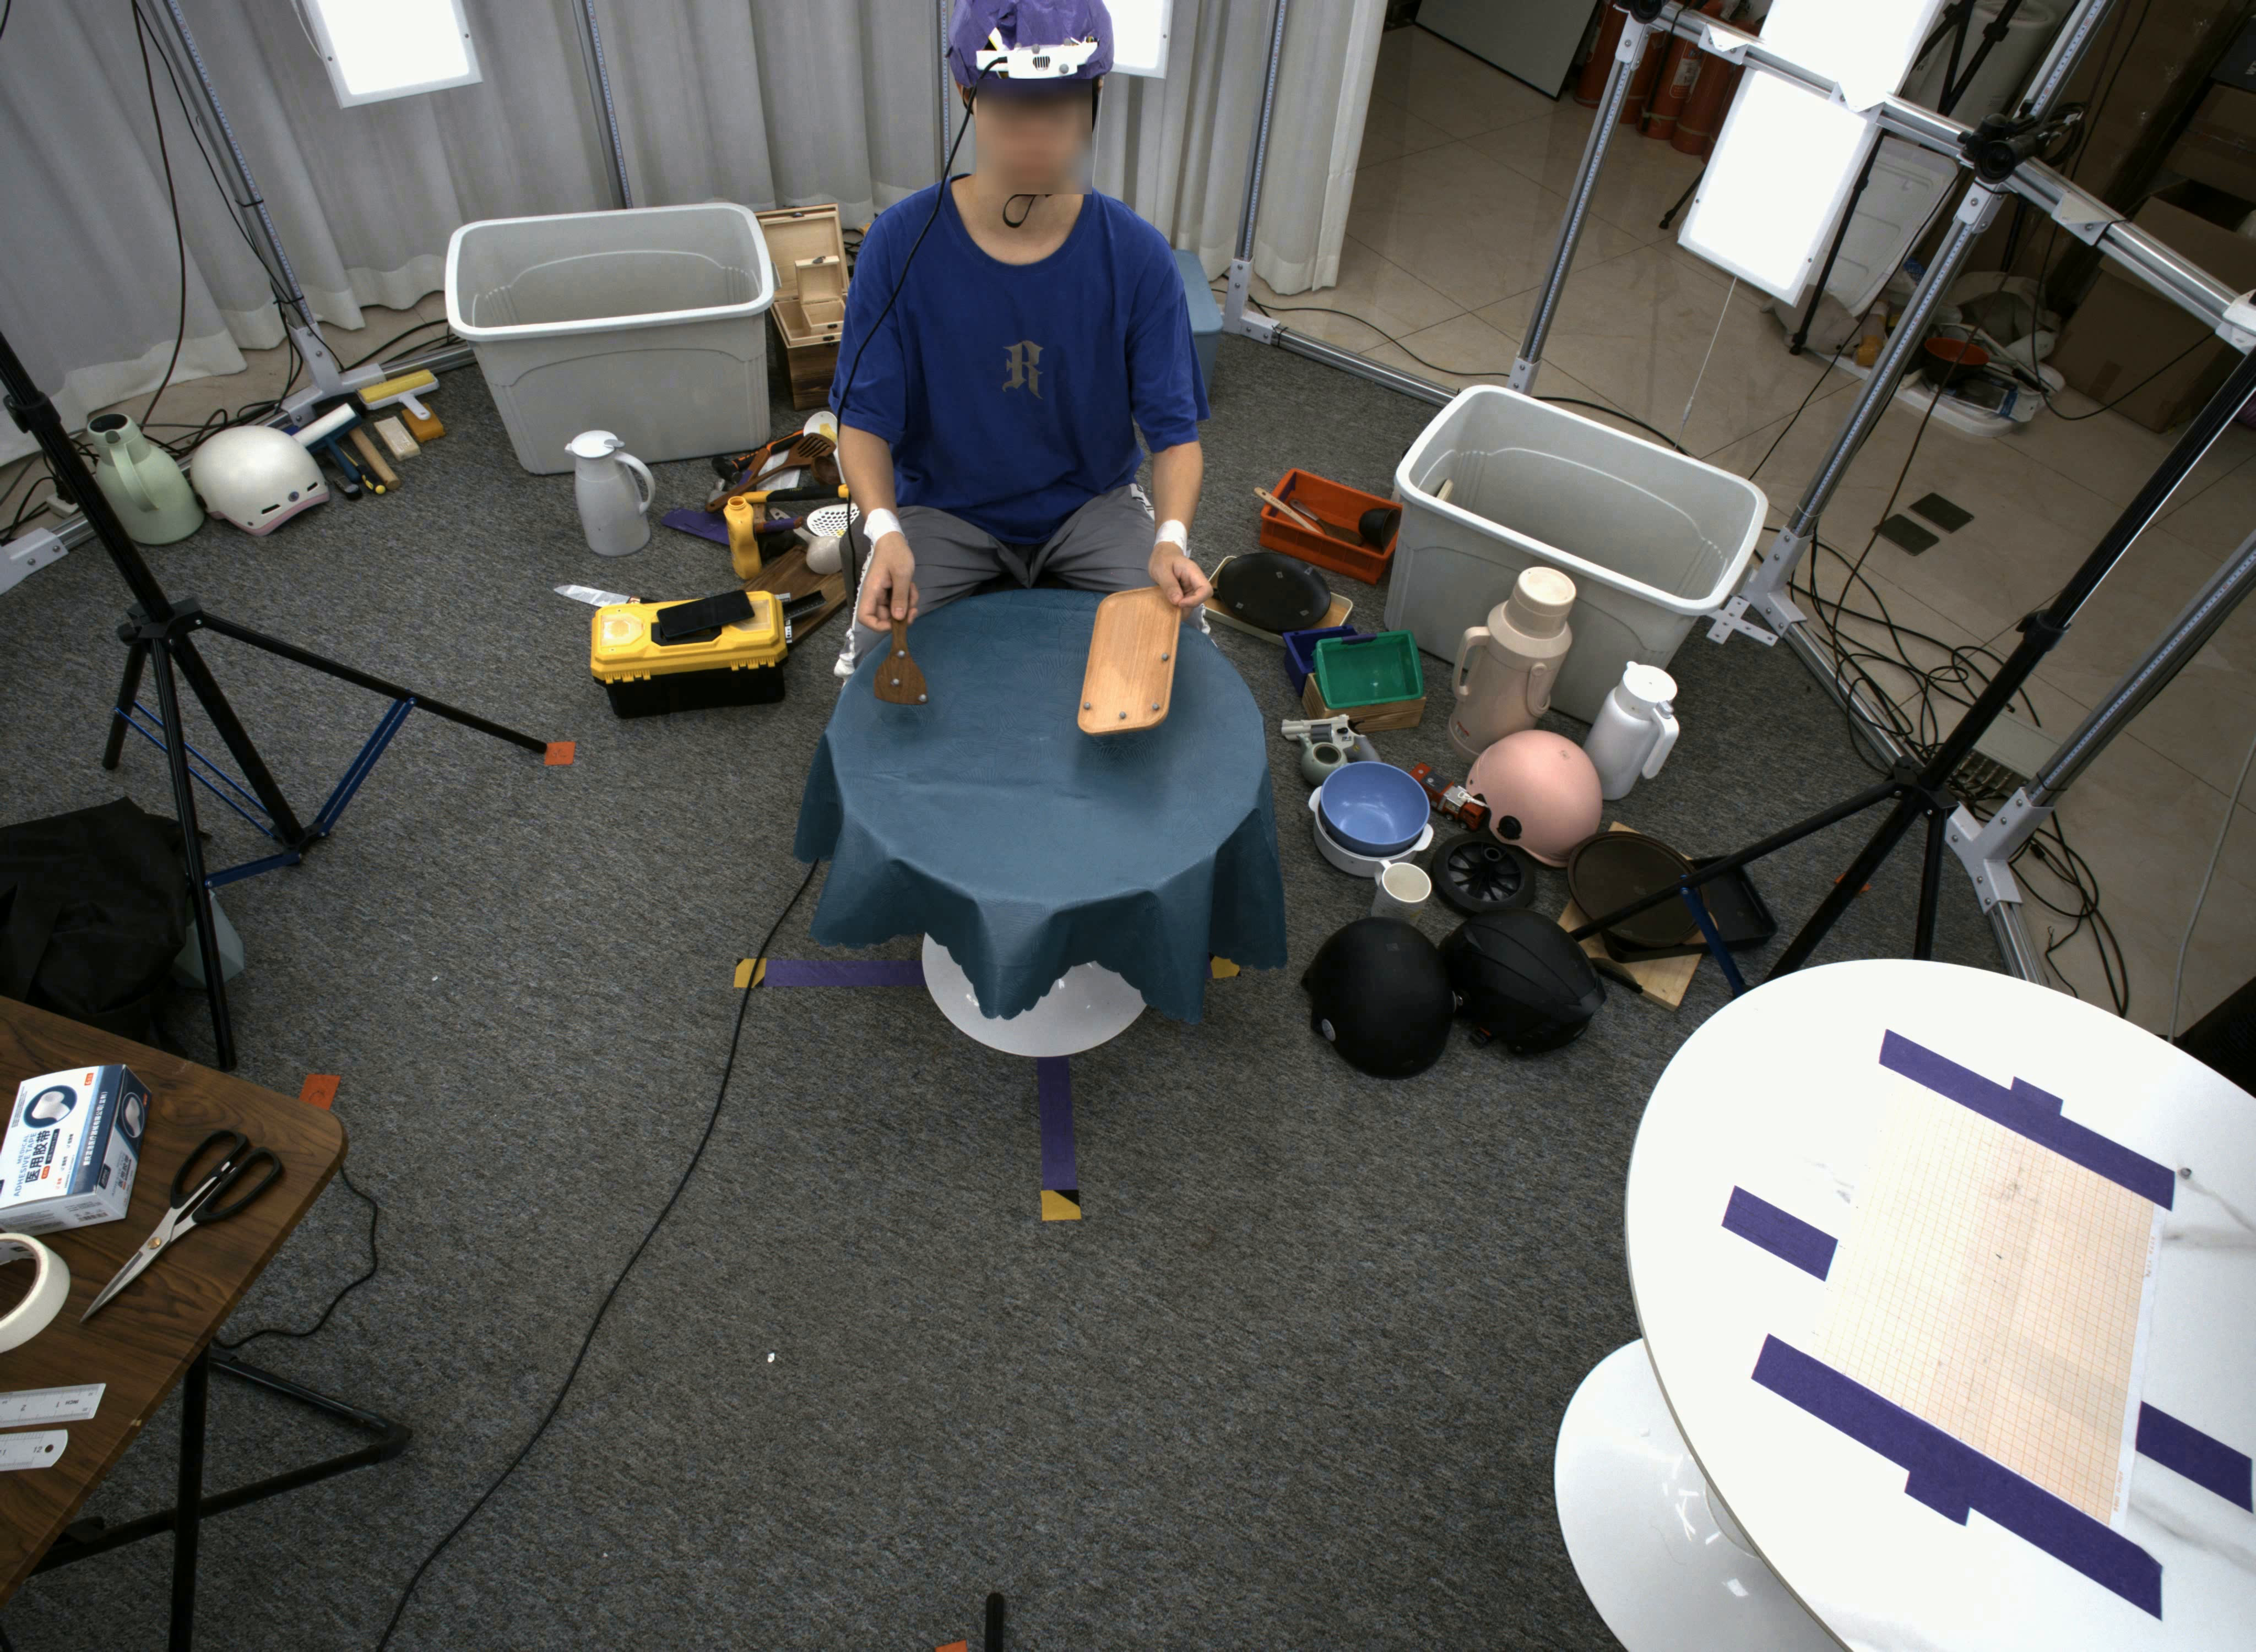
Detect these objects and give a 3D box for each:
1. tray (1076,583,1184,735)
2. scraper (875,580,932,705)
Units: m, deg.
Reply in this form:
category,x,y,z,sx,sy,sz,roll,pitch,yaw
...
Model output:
category,x,y,z,sx,sy,sz,roll,pitch,yaw
tray,0.005,-0.229,1.750,0.131,0.022,0.256,-3,55,19
scraper,-0.309,-0.254,1.774,0.075,0.010,0.216,4,59,-17
